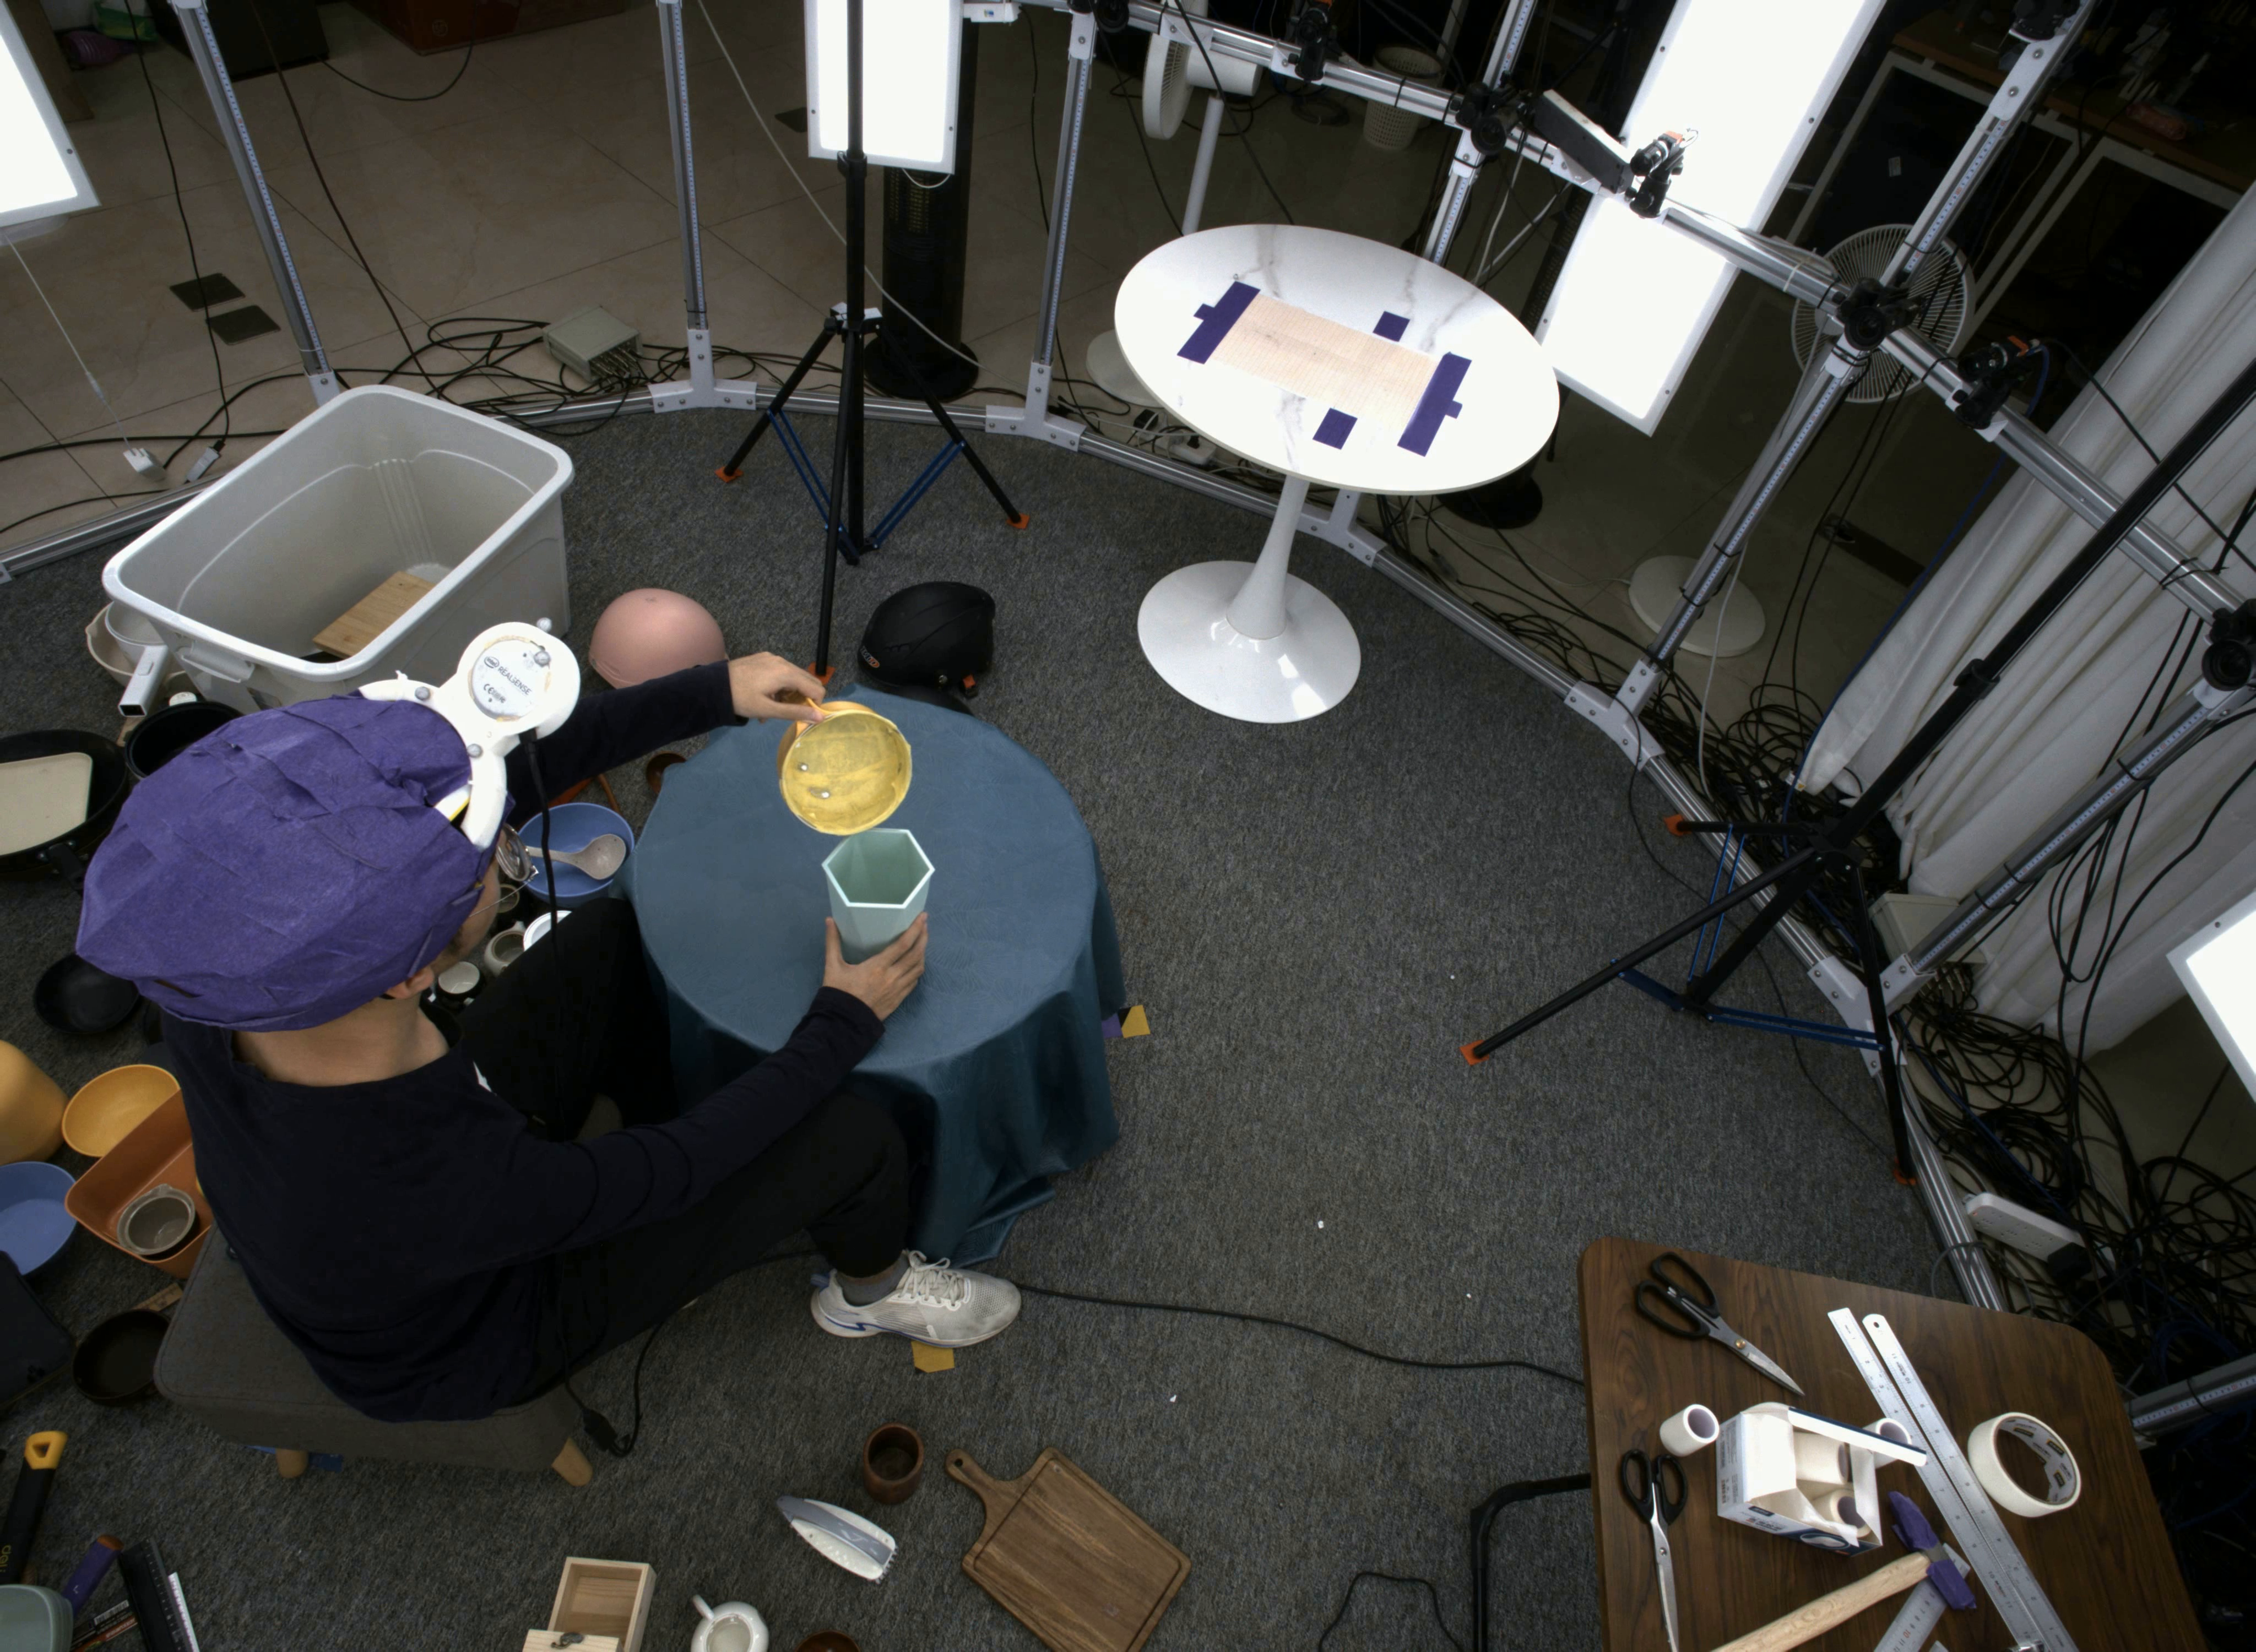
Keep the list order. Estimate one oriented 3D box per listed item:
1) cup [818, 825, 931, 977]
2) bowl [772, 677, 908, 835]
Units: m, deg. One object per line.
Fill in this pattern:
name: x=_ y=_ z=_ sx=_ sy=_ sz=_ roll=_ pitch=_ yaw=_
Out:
cup: x=-0.305 y=0.093 z=1.580 sx=0.115 sy=0.167 sz=0.127 roll=-26 pitch=61 yaw=-26
bowl: x=-0.340 y=-0.085 z=1.485 sx=0.152 sy=0.186 sz=0.071 roll=-36 pitch=38 yaw=-6
